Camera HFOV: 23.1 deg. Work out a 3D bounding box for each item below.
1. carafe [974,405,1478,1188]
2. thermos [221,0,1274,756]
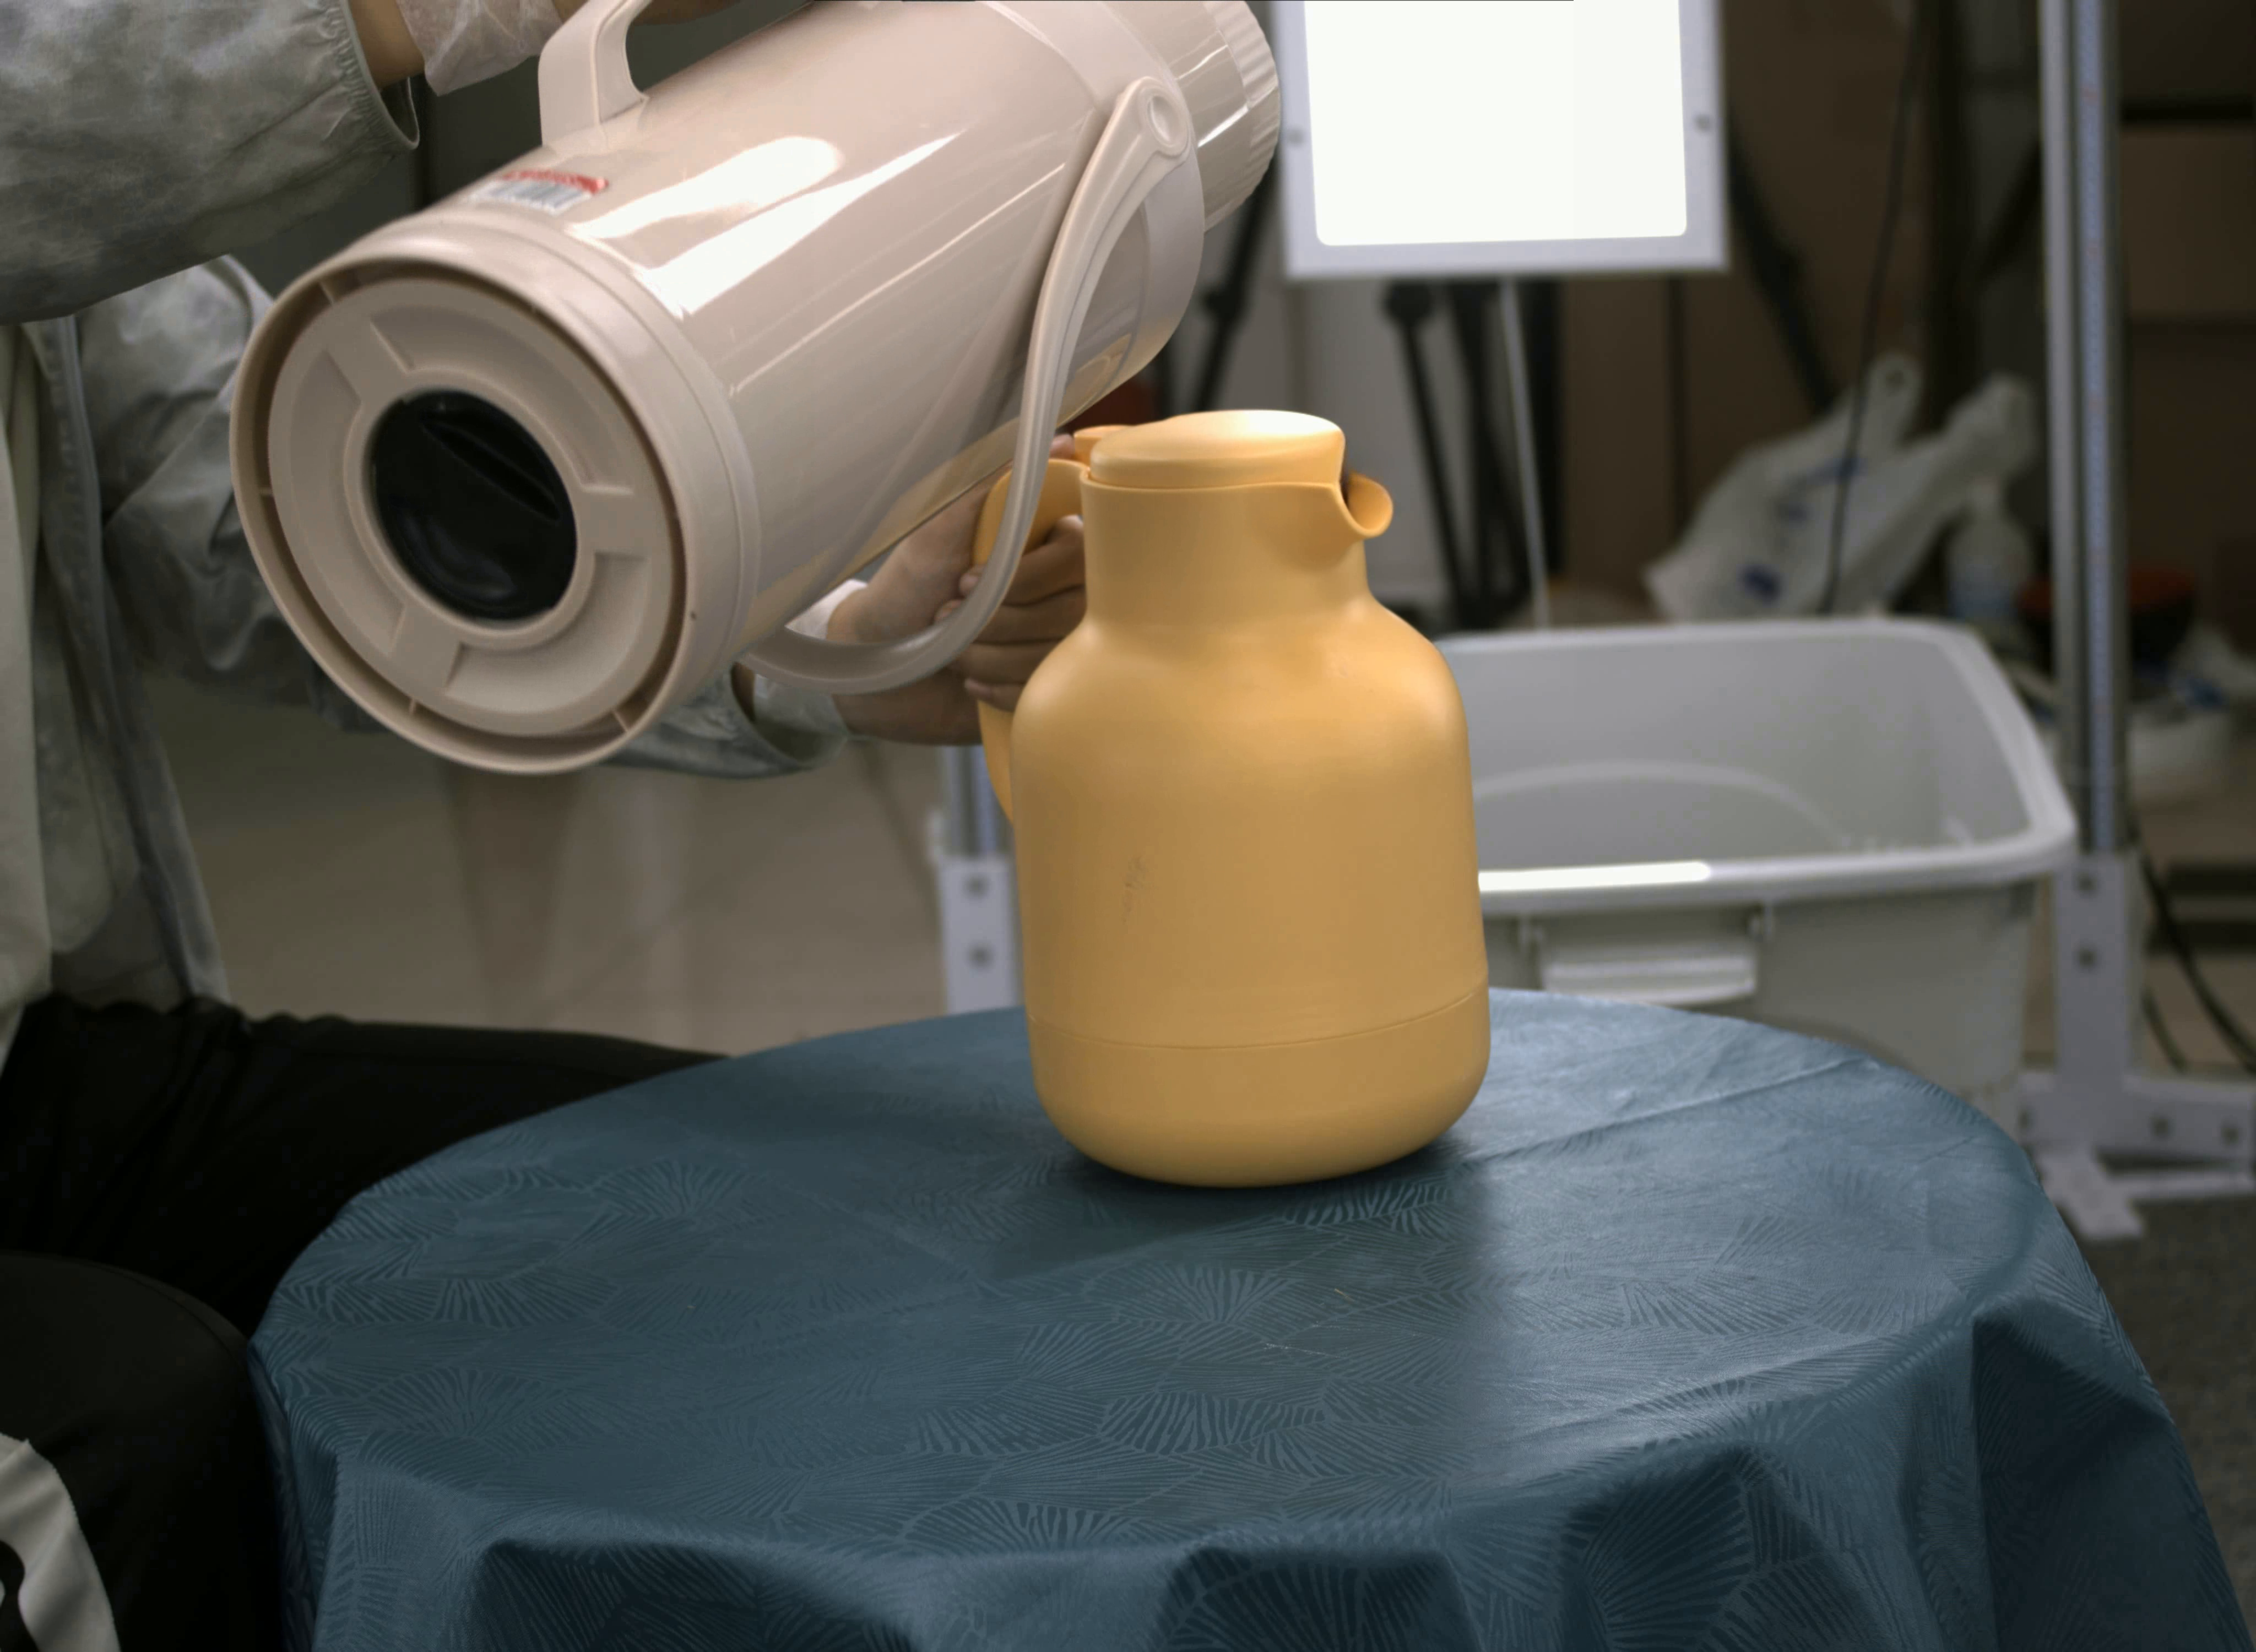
[{"bbox_3d":[0.026,-0.017,1.923,0.159,0.261,0.207,-13,17,-39],"label":"carafe"},{"bbox_3d":[-0.101,-0.182,1.683,0.179,0.207,0.397,-17,14,39],"label":"thermos"}]
